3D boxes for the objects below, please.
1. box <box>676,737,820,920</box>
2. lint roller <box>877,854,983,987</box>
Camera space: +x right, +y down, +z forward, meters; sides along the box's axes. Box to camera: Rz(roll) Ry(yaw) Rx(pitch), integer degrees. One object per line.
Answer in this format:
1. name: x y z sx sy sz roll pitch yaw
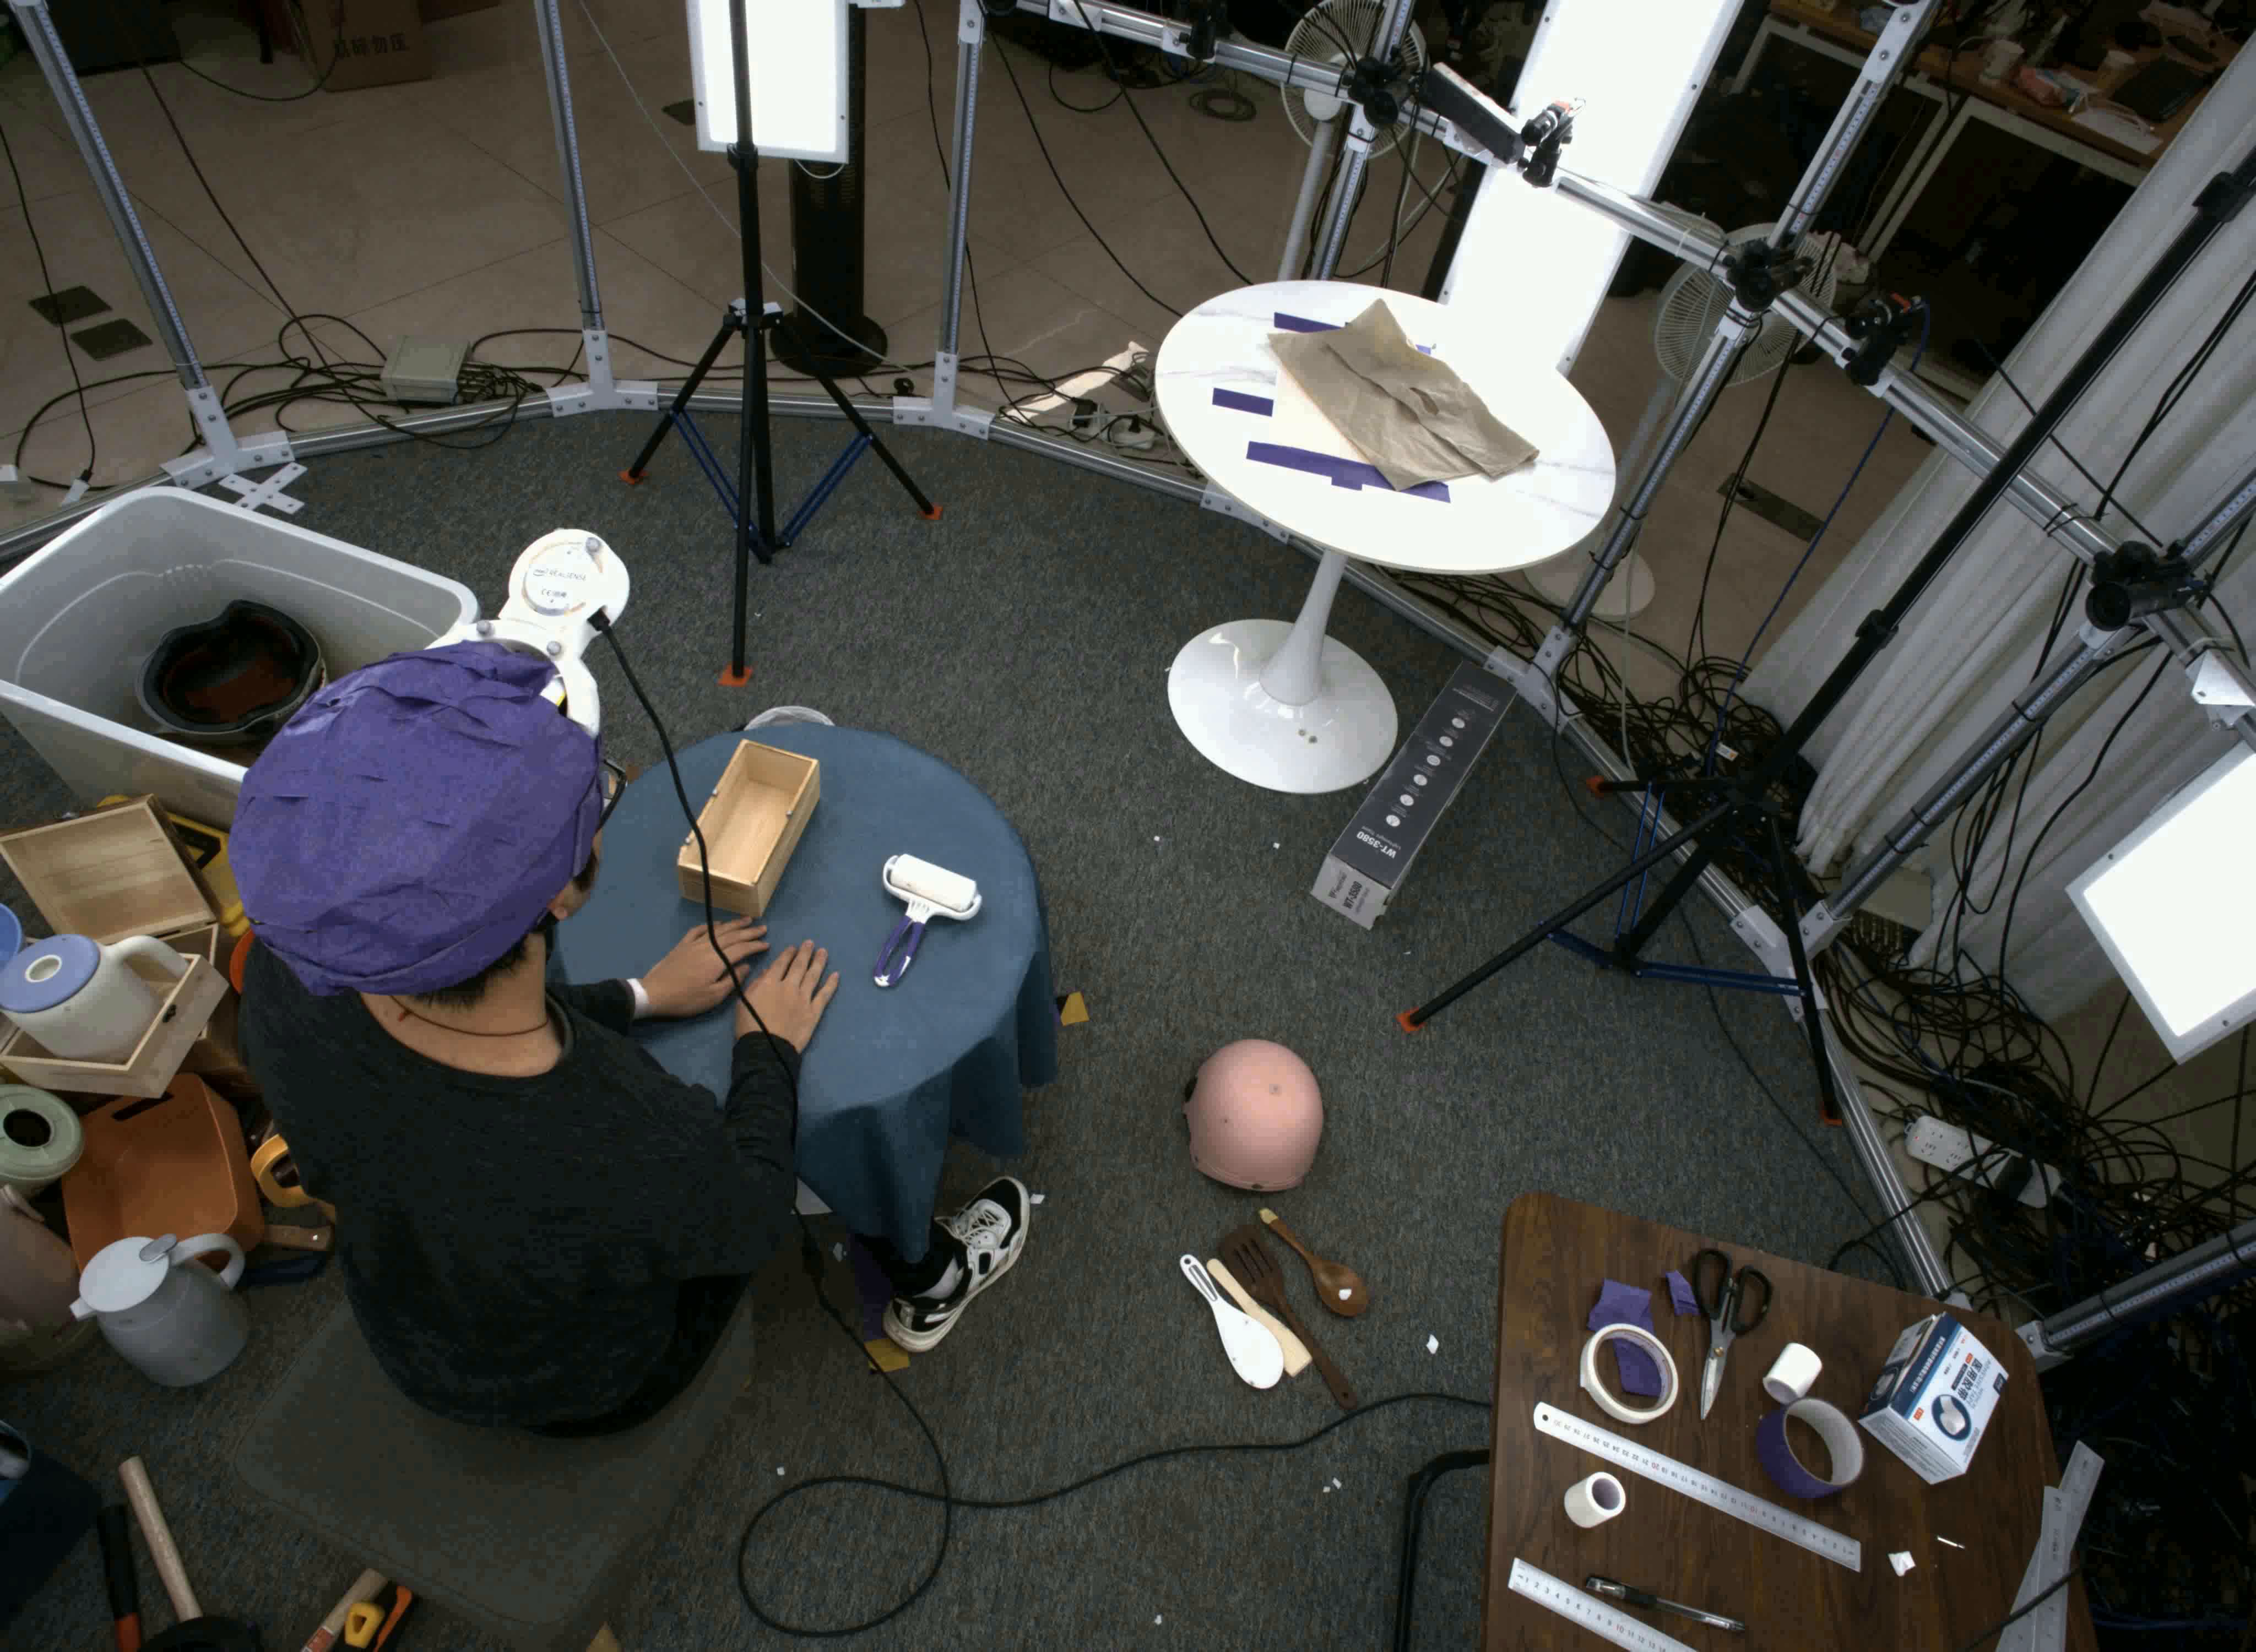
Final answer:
1. box: -0.481 0.000 1.652 0.107 0.082 0.209 16 52 -2
2. lint roller: -0.273 0.118 1.639 0.131 0.051 0.179 24 50 2
